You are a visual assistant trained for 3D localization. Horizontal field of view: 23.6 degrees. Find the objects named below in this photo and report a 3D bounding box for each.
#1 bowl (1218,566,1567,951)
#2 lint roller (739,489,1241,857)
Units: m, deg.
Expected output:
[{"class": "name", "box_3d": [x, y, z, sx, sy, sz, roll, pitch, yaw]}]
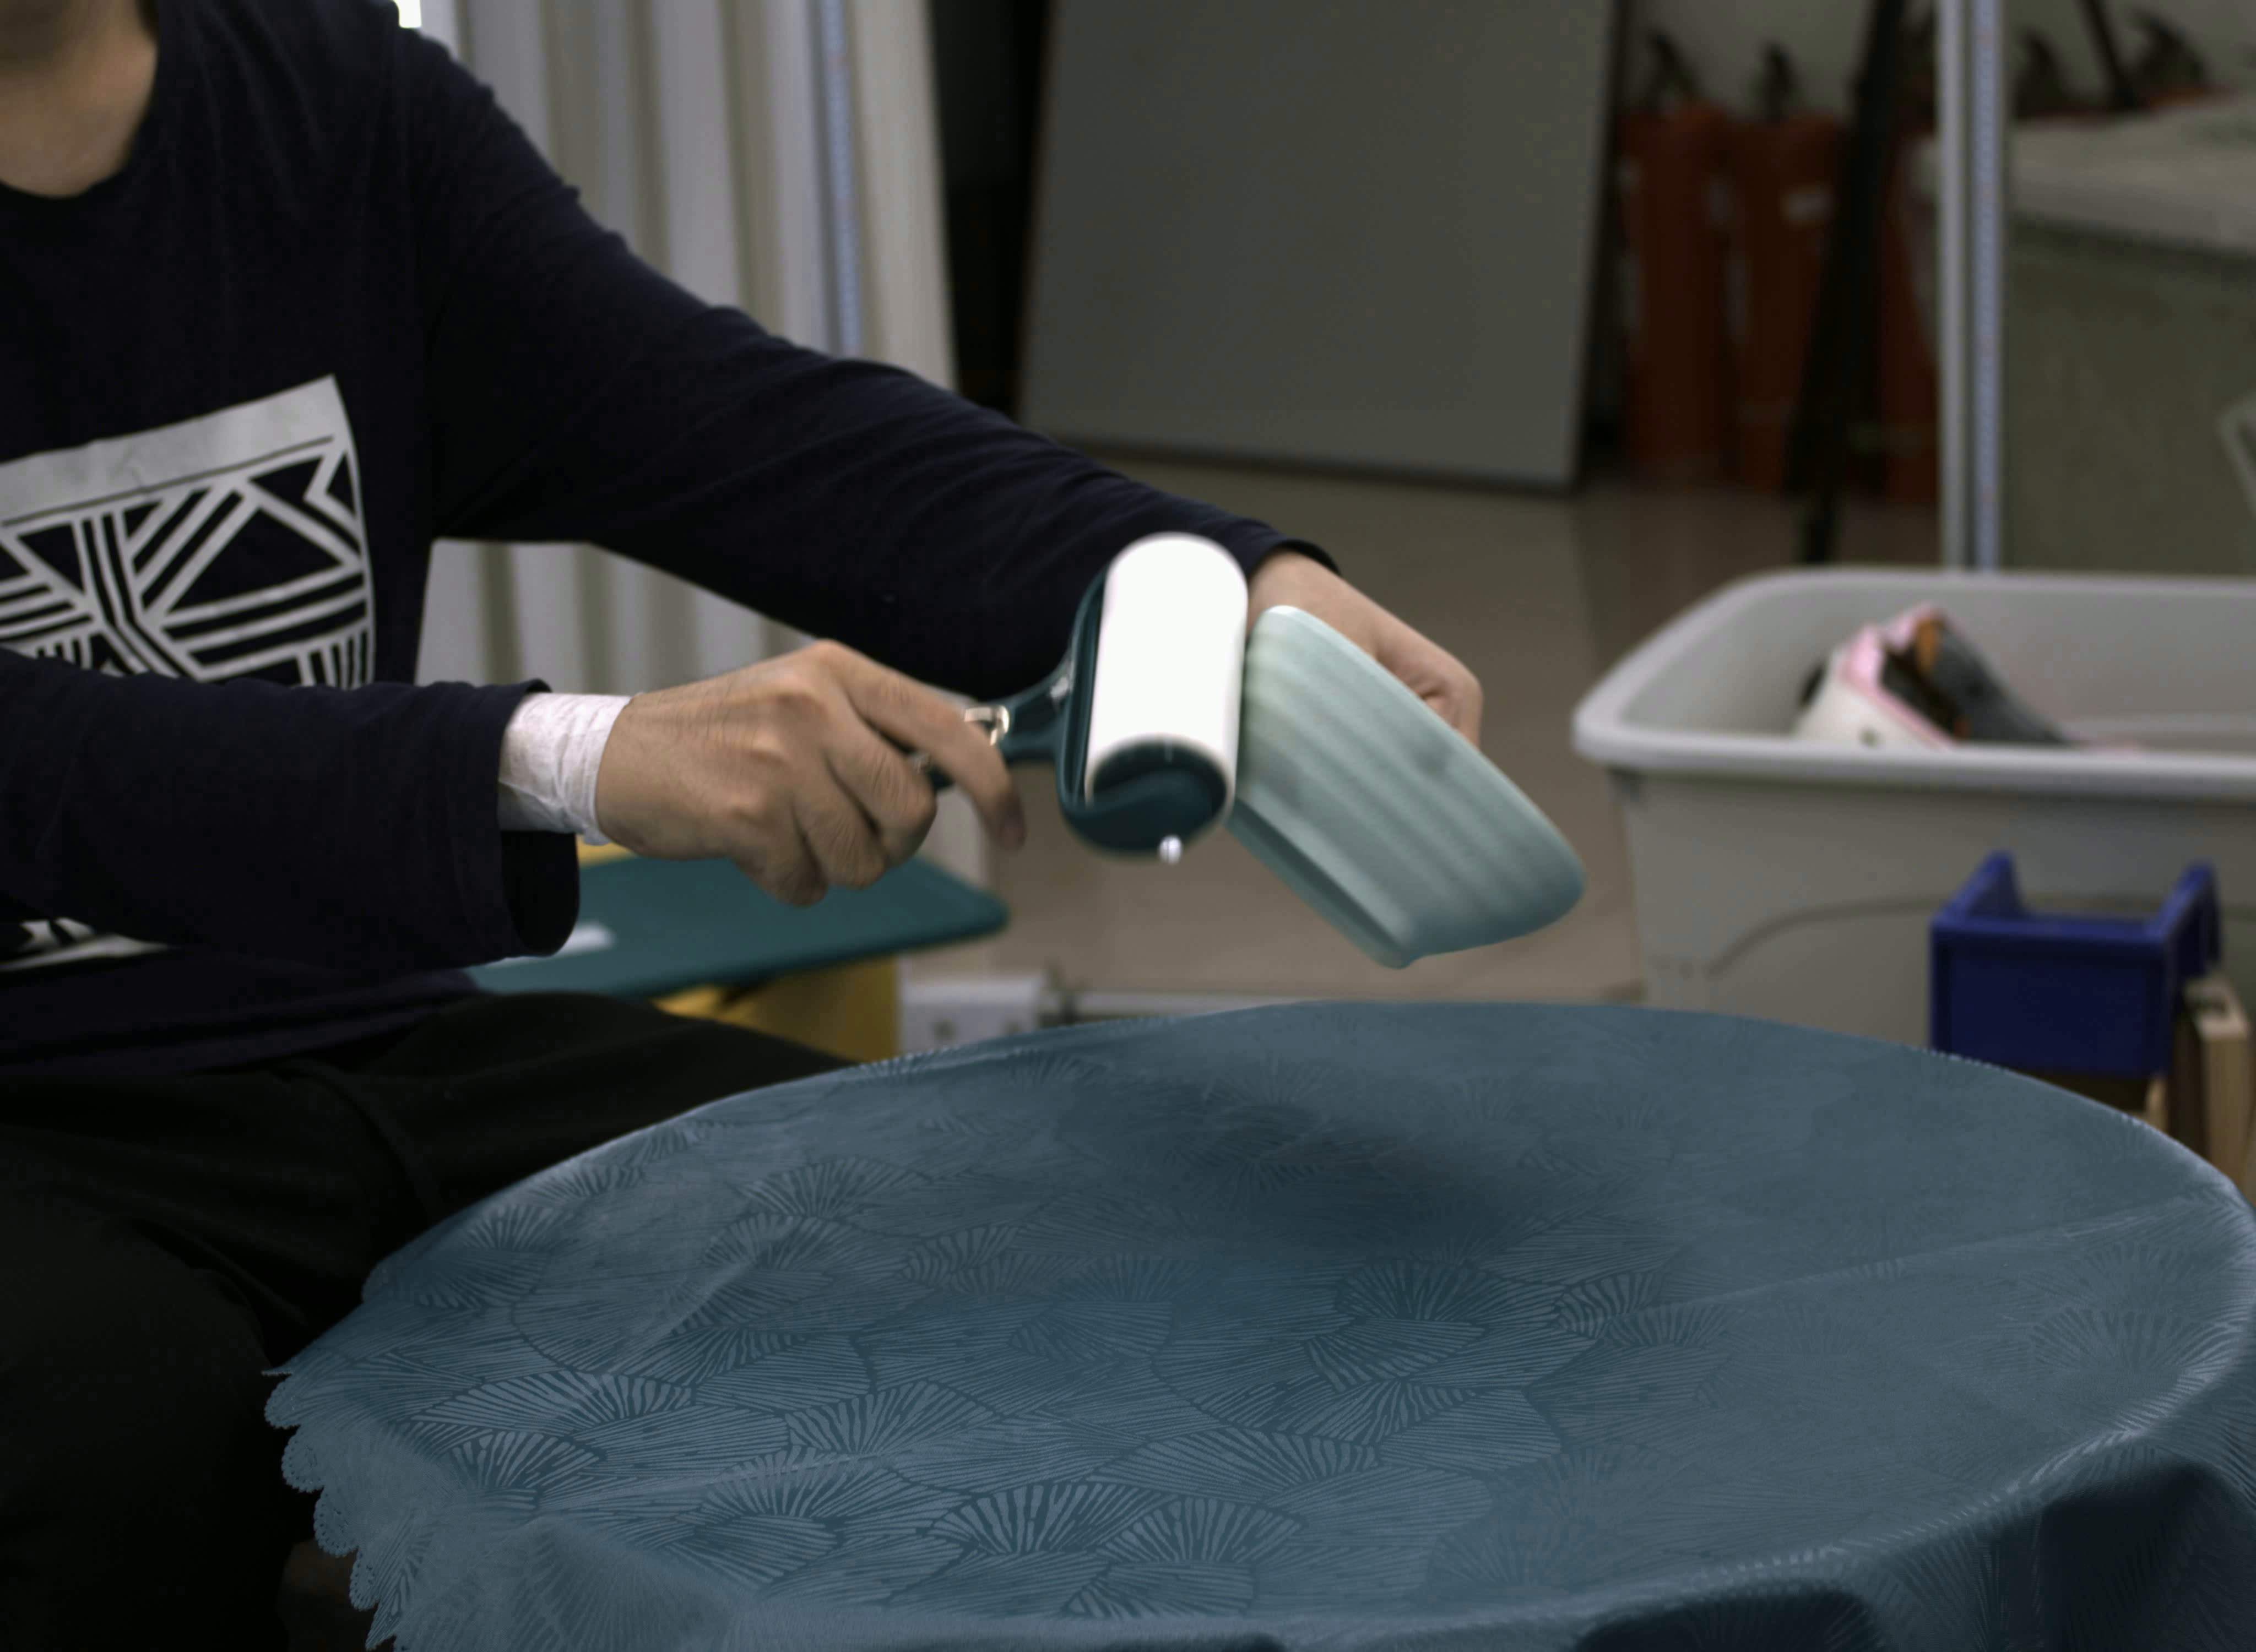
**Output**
[{"class": "bowl", "box_3d": [0.076, -0.011, 1.731, 0.058, 0.151, 0.152, -40, 16, 0]}, {"class": "lint roller", "box_3d": [-0.050, -0.035, 1.717, 0.179, 0.048, 0.135, -15, 35, 17]}]
